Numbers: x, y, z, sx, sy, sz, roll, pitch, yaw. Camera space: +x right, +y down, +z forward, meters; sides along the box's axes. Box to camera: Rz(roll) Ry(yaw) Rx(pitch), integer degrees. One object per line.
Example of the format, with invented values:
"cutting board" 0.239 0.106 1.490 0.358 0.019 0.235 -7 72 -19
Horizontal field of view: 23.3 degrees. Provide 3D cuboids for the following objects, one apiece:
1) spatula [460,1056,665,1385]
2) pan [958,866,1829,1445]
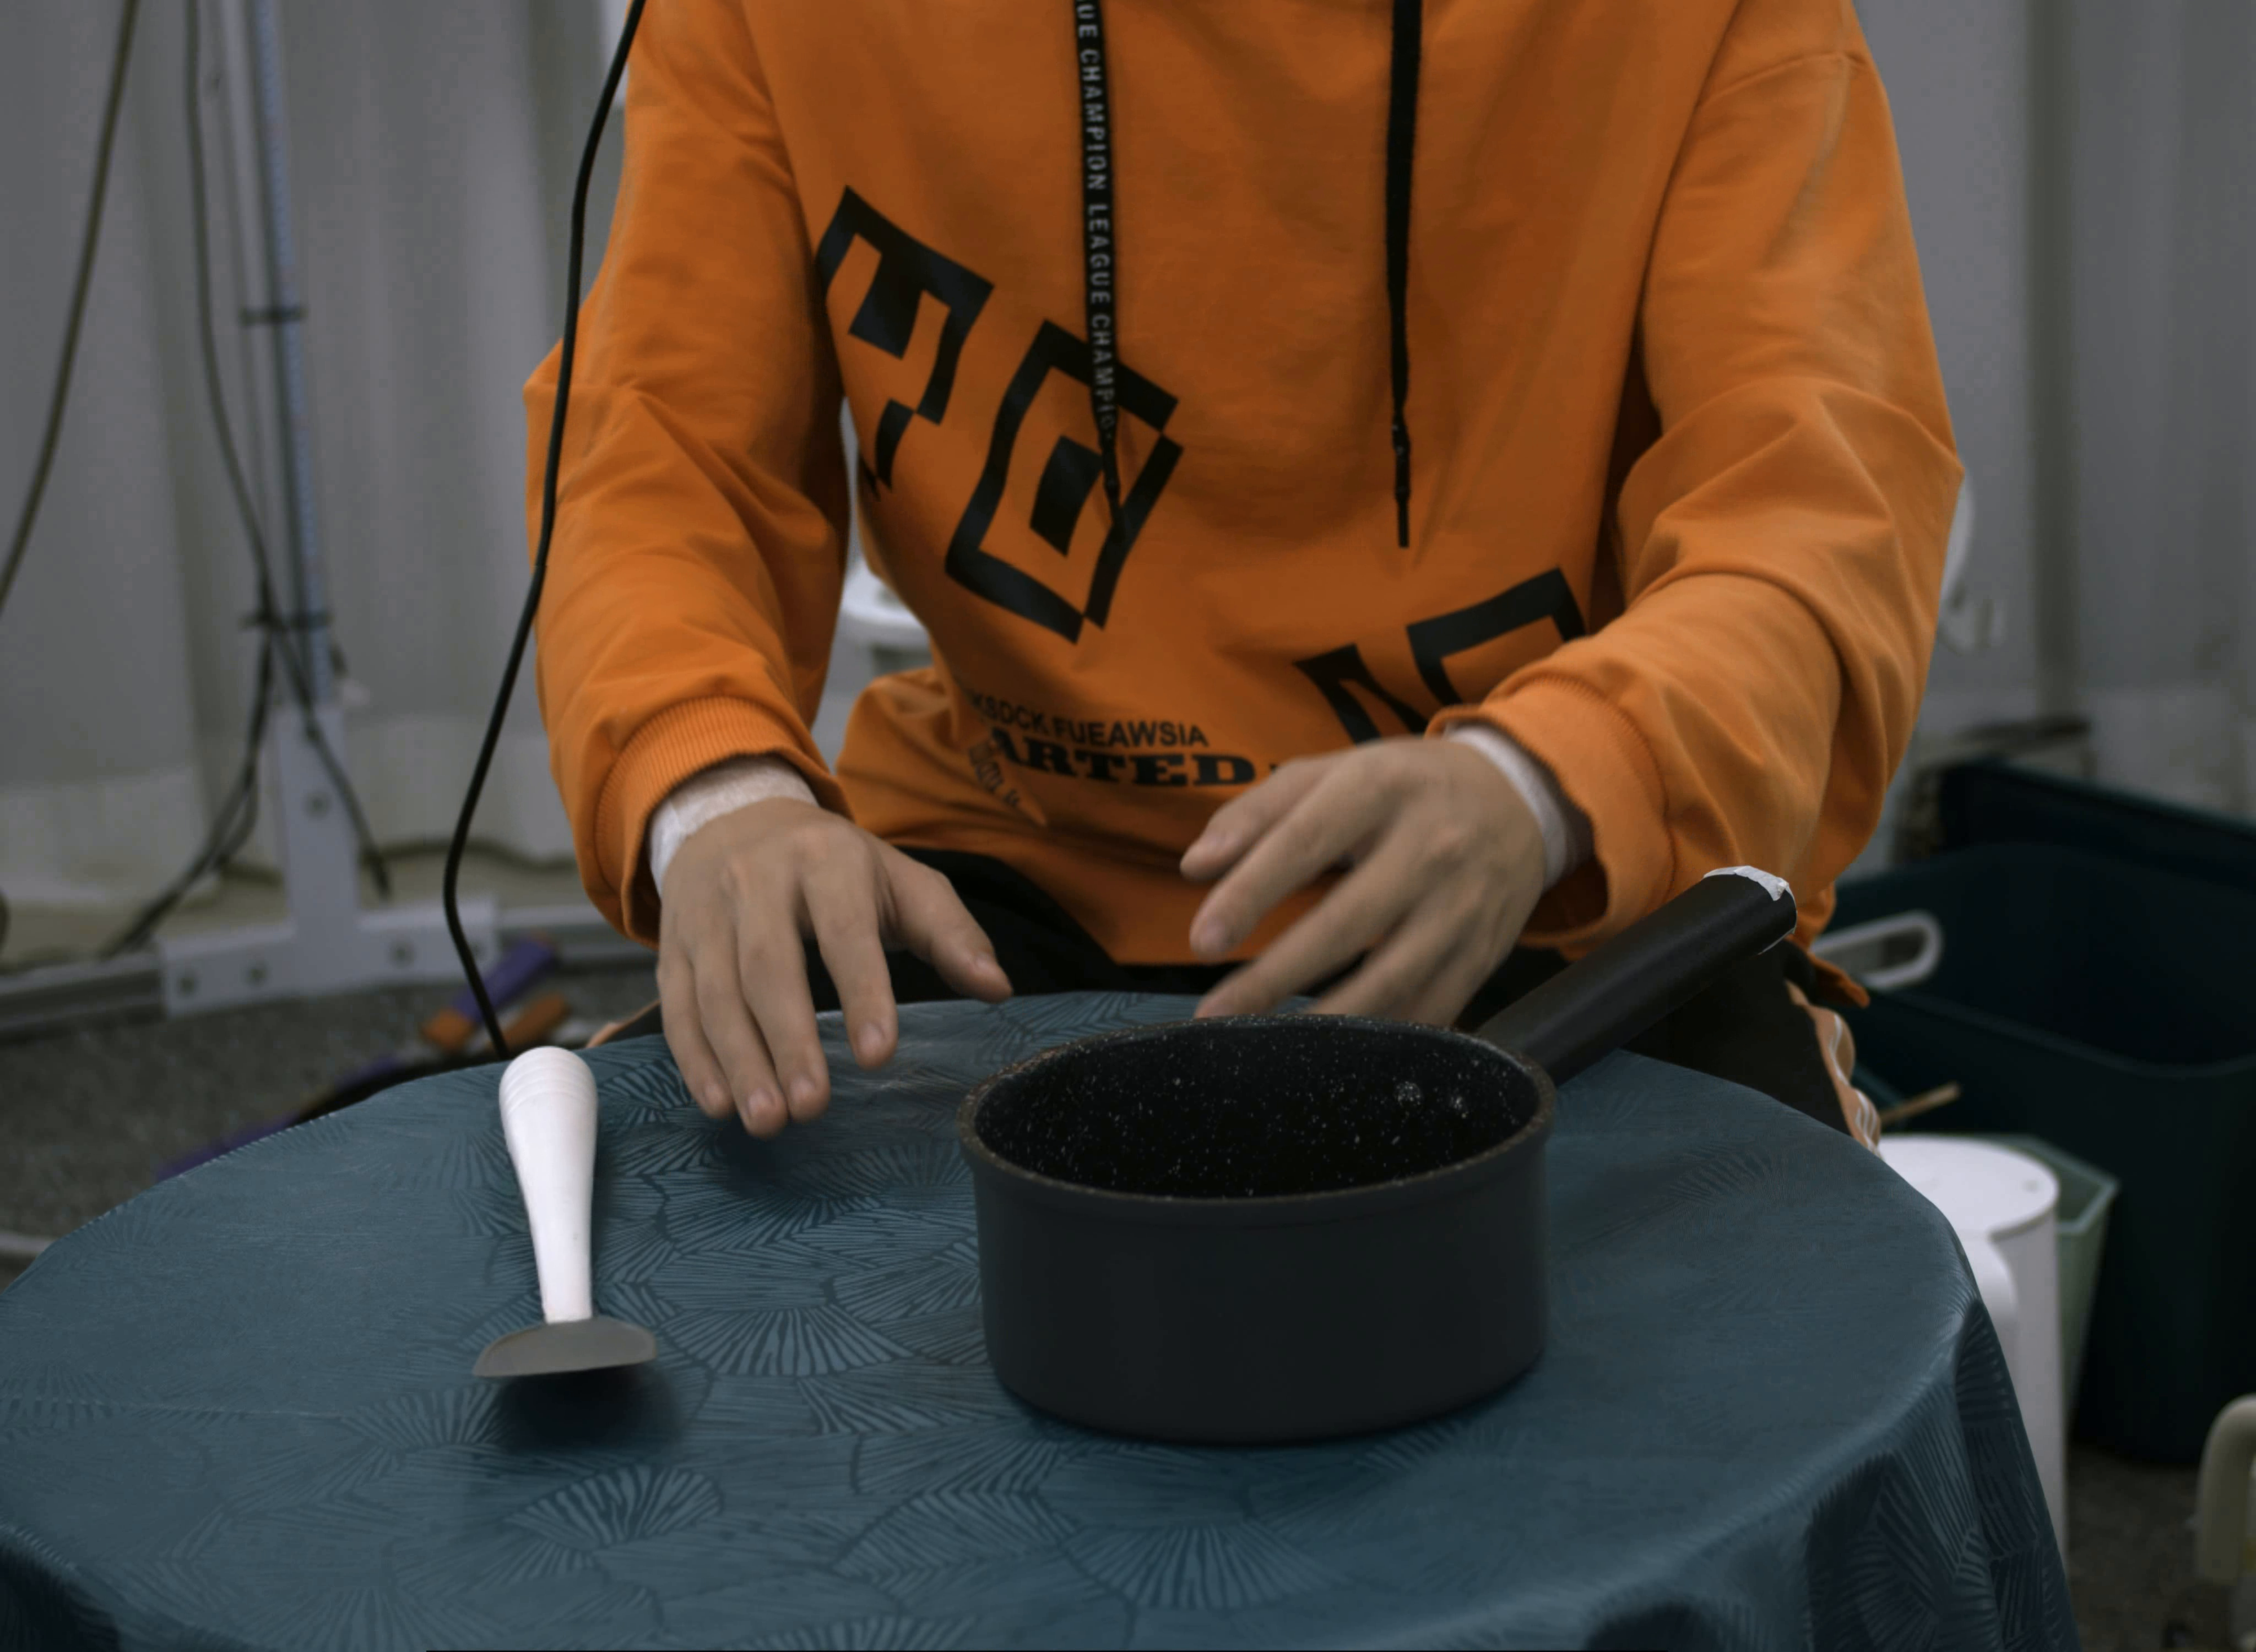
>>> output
"spatula" -0.172 0.125 1.650 0.058 0.032 0.290 0 14 -7
"pan" 0.094 0.093 1.615 0.173 0.086 0.328 13 23 44
